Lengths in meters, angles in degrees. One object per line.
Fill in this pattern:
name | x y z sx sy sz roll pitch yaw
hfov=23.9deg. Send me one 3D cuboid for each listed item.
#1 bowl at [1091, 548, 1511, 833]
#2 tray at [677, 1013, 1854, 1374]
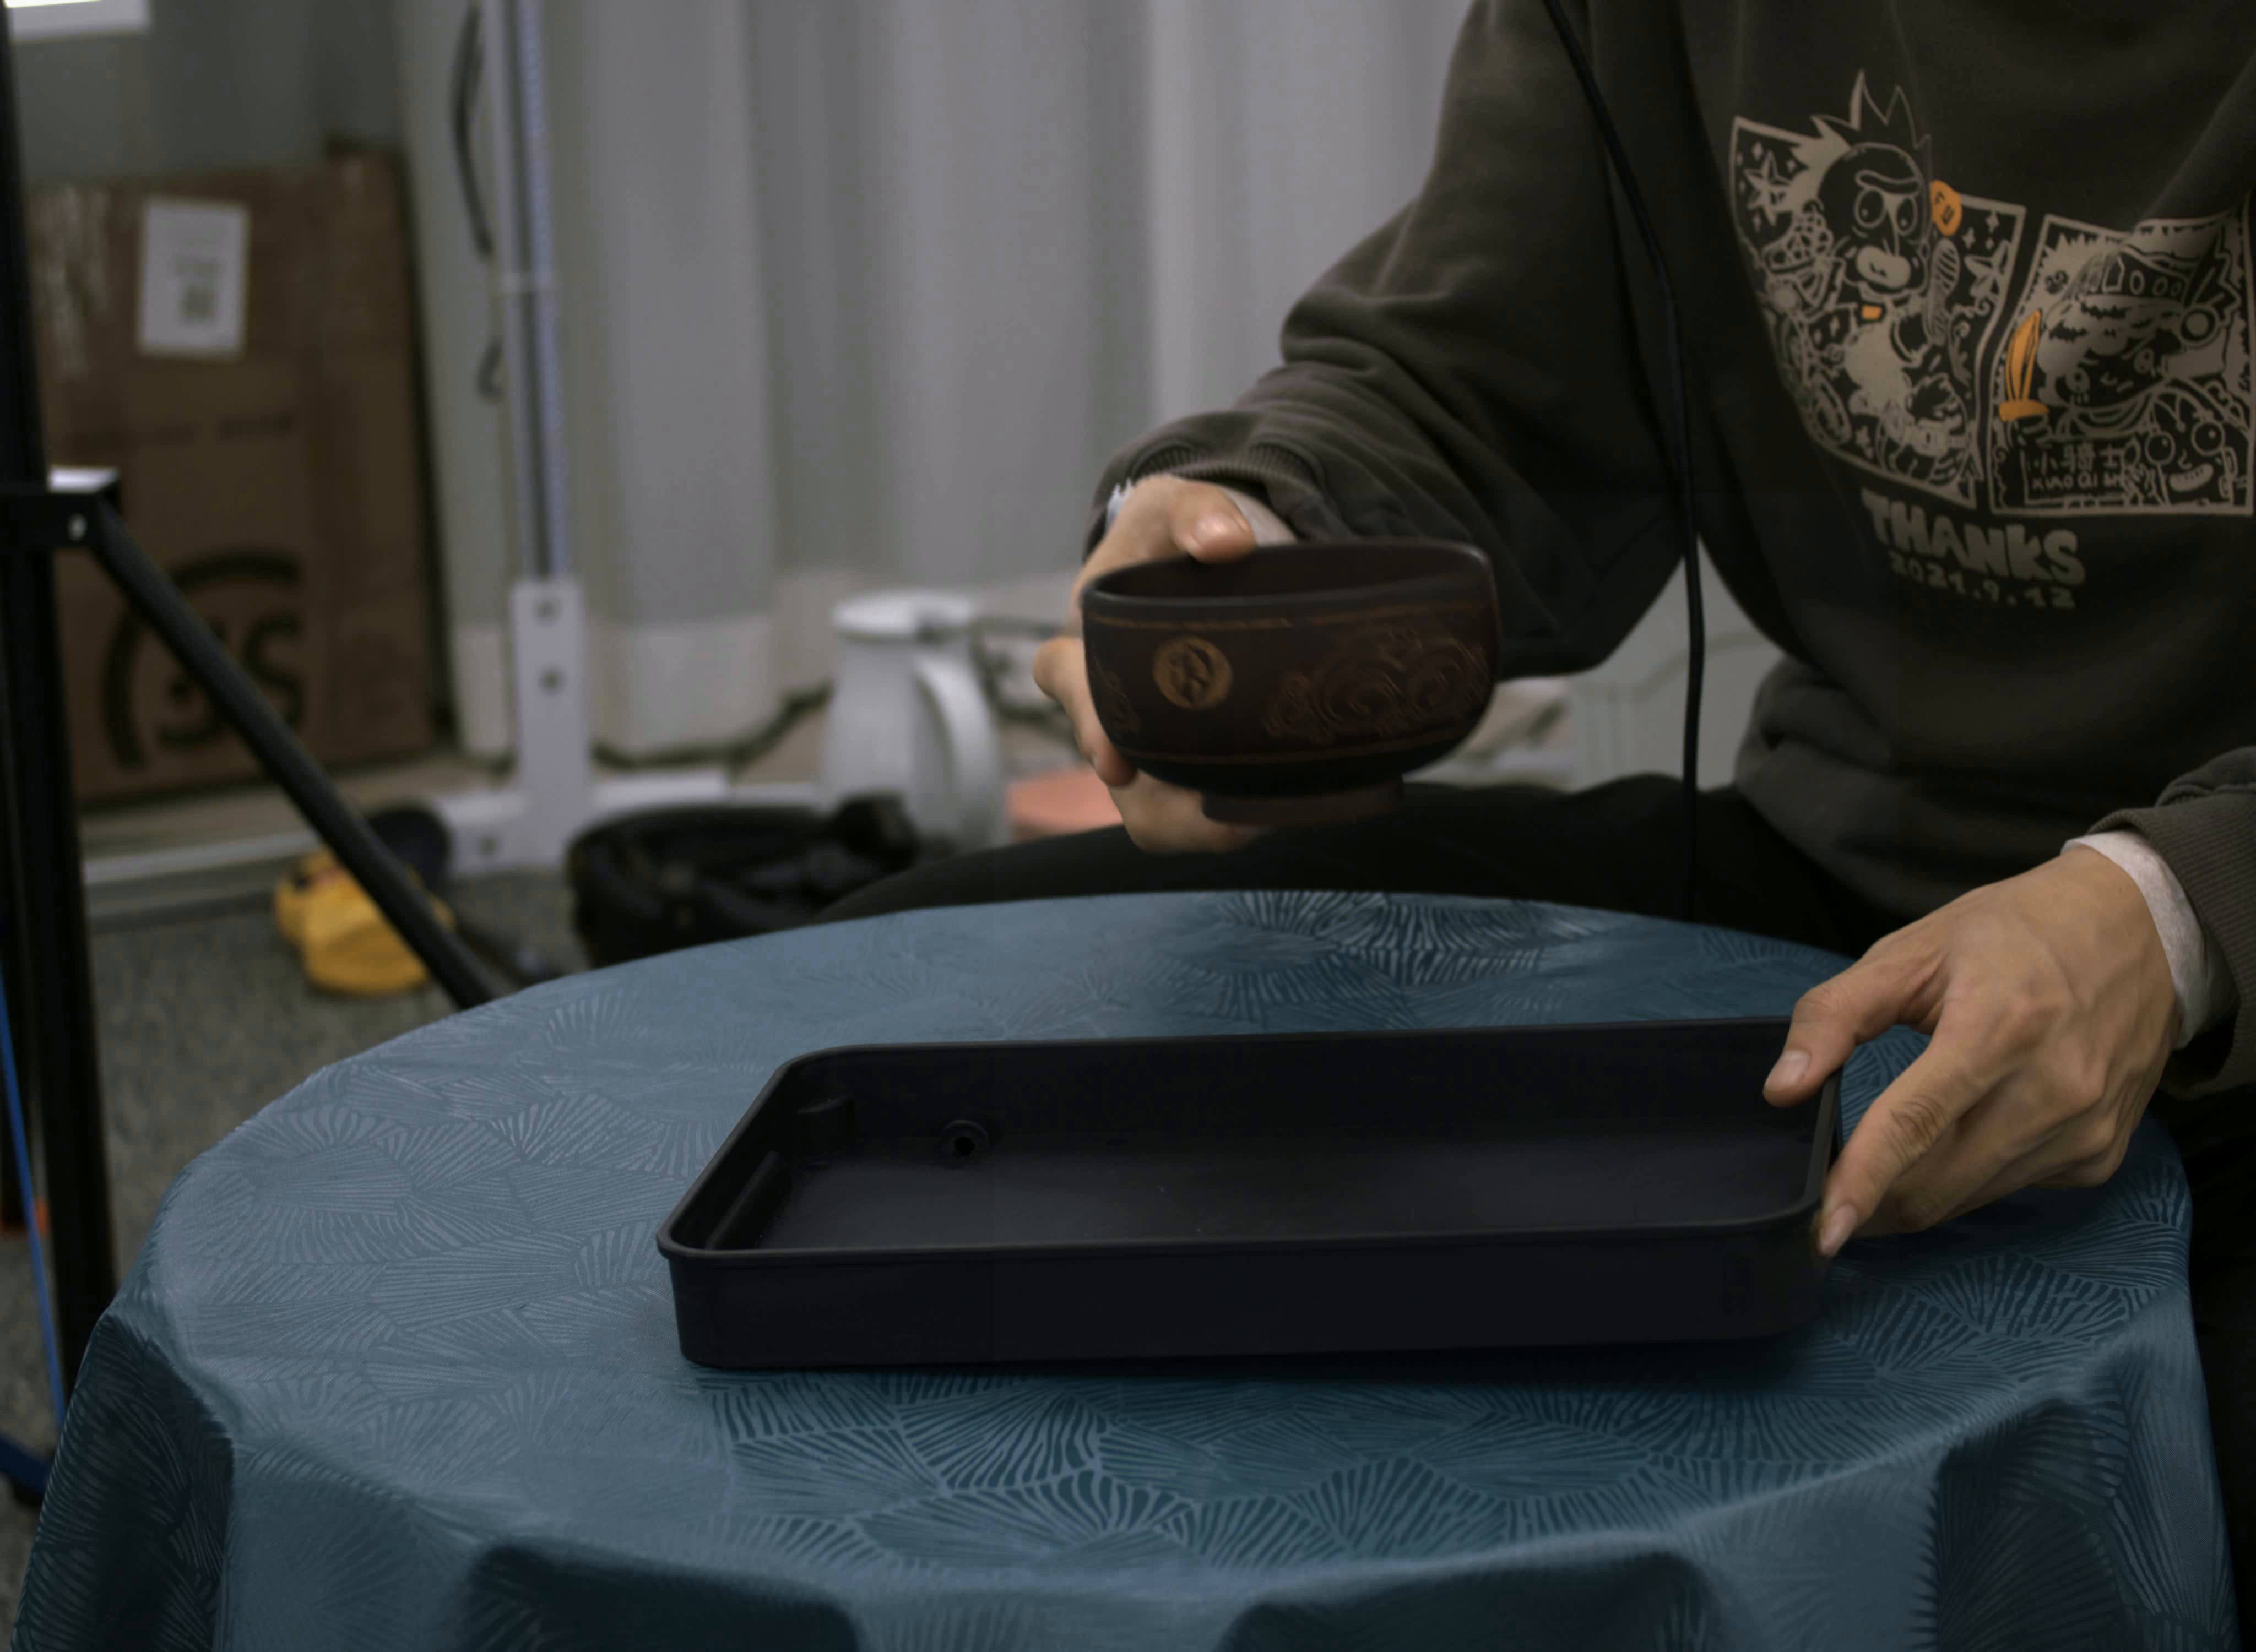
bowl | 0.049 -0.037 1.494 0.117 0.070 0.118 -4 8 -1
tray | 0.045 0.101 1.487 0.319 0.037 0.183 -3 14 11
